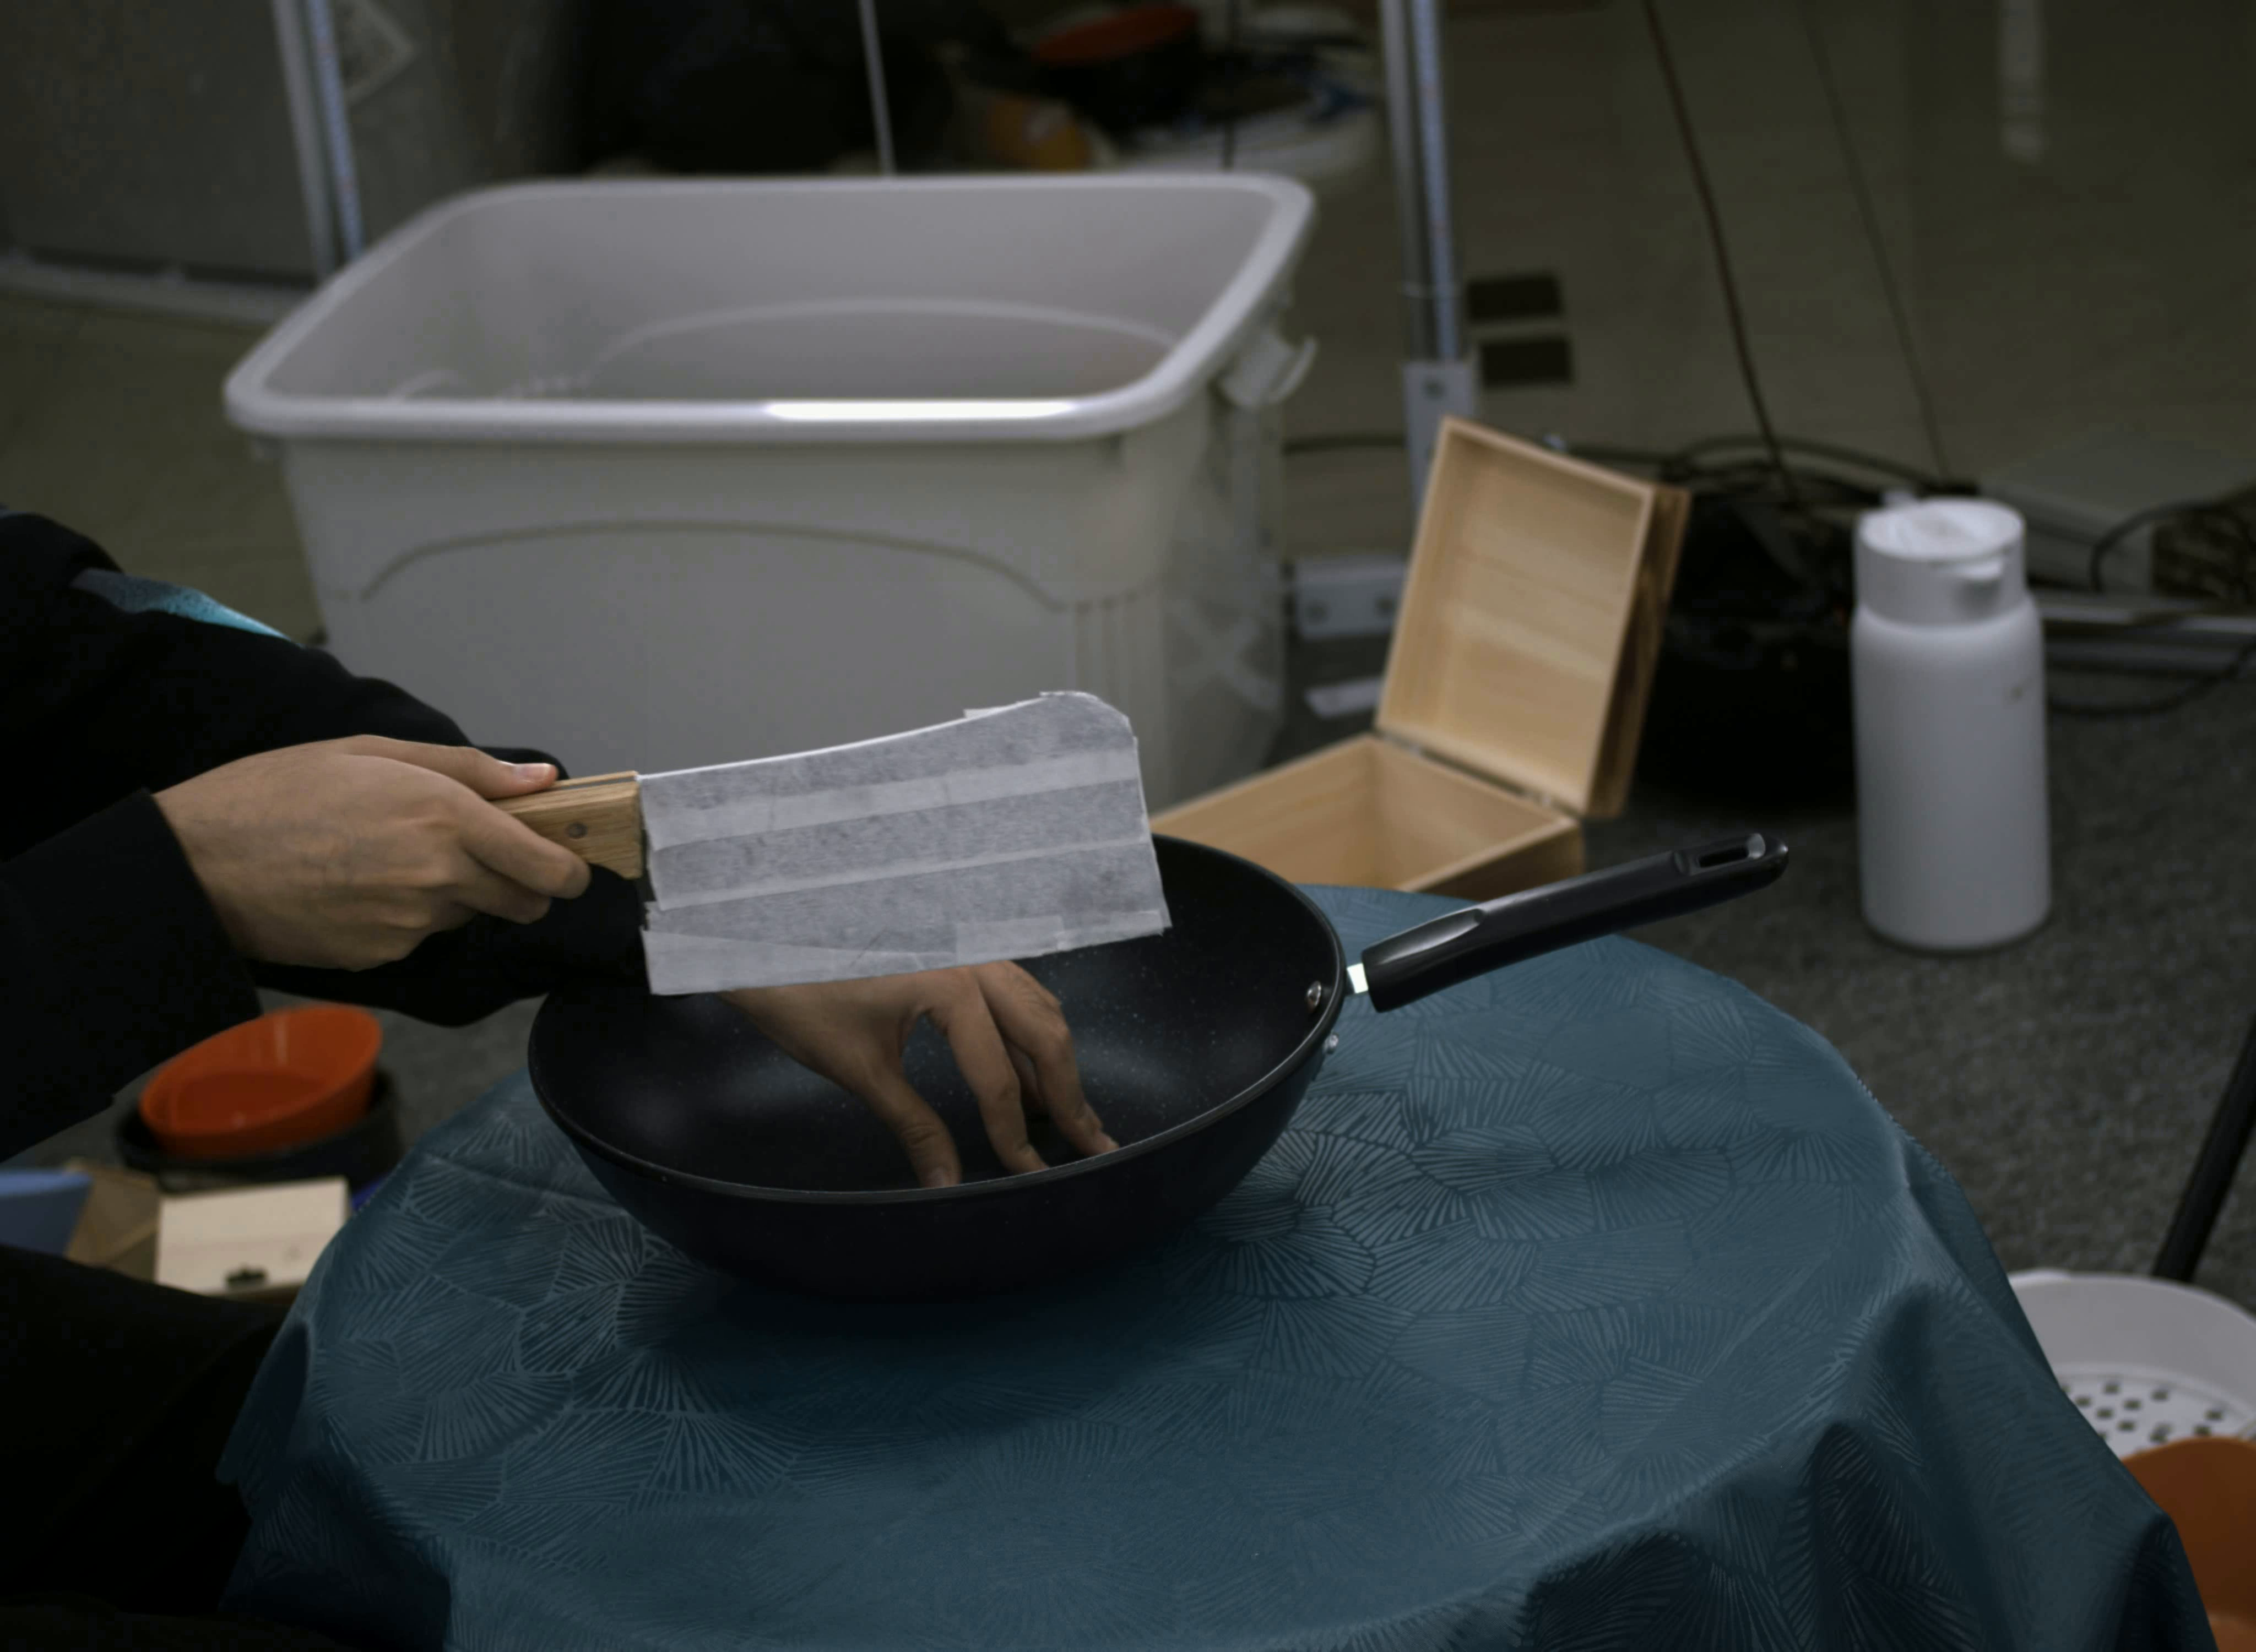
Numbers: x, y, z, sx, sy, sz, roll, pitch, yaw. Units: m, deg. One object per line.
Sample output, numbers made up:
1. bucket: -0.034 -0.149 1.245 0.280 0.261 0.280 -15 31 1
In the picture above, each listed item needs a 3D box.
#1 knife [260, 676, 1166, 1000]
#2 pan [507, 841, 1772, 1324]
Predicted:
1. knife: -0.144 0.009 1.977 0.315 0.116 0.021 -4 28 -4
2. pan: 0.007 0.086 2.132 0.476 0.113 0.305 -6 27 1
